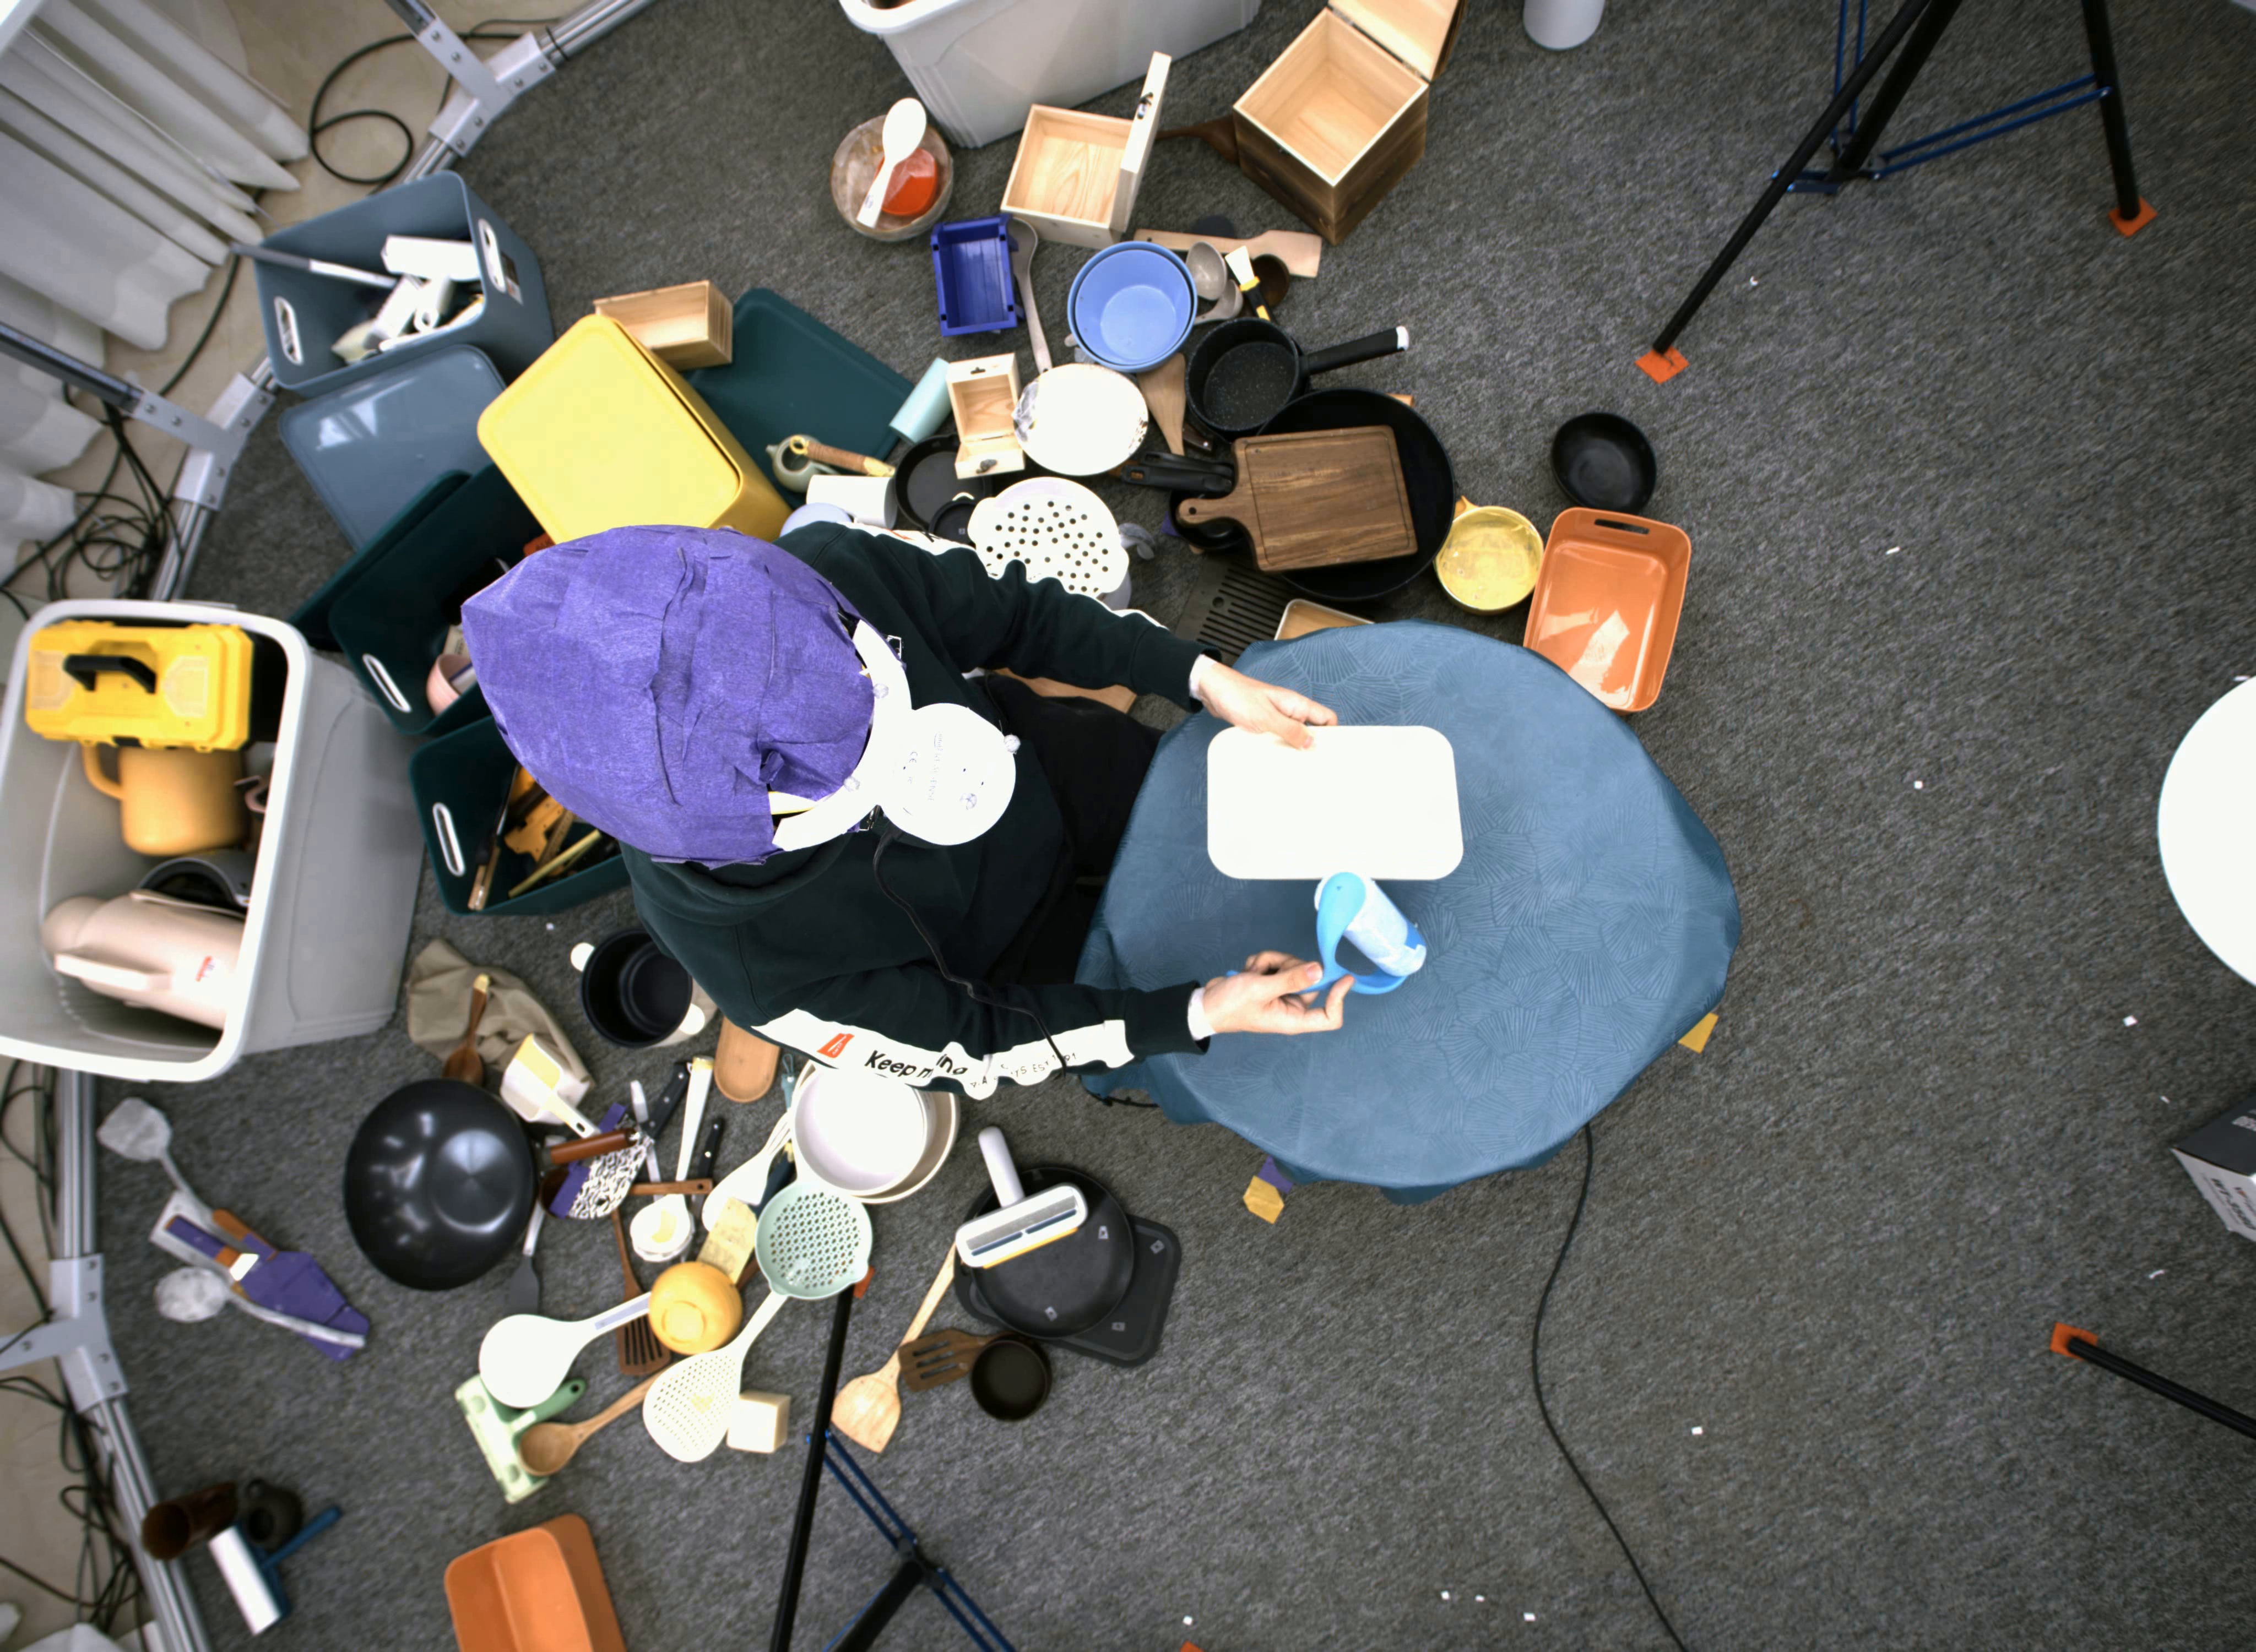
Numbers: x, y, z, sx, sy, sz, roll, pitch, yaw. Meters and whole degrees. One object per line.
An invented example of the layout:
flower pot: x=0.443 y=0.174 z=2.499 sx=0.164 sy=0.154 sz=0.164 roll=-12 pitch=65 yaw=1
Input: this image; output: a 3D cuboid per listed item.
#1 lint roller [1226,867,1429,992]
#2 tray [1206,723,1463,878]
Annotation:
lint roller: x=0.182 y=0.122 z=1.306 sx=0.182 sy=0.230 sz=0.067 roll=-32 pitch=62 yaw=17
tray: x=0.194 y=-0.025 z=1.318 sx=0.240 sy=0.018 sz=0.167 roll=0 pitch=62 yaw=3
